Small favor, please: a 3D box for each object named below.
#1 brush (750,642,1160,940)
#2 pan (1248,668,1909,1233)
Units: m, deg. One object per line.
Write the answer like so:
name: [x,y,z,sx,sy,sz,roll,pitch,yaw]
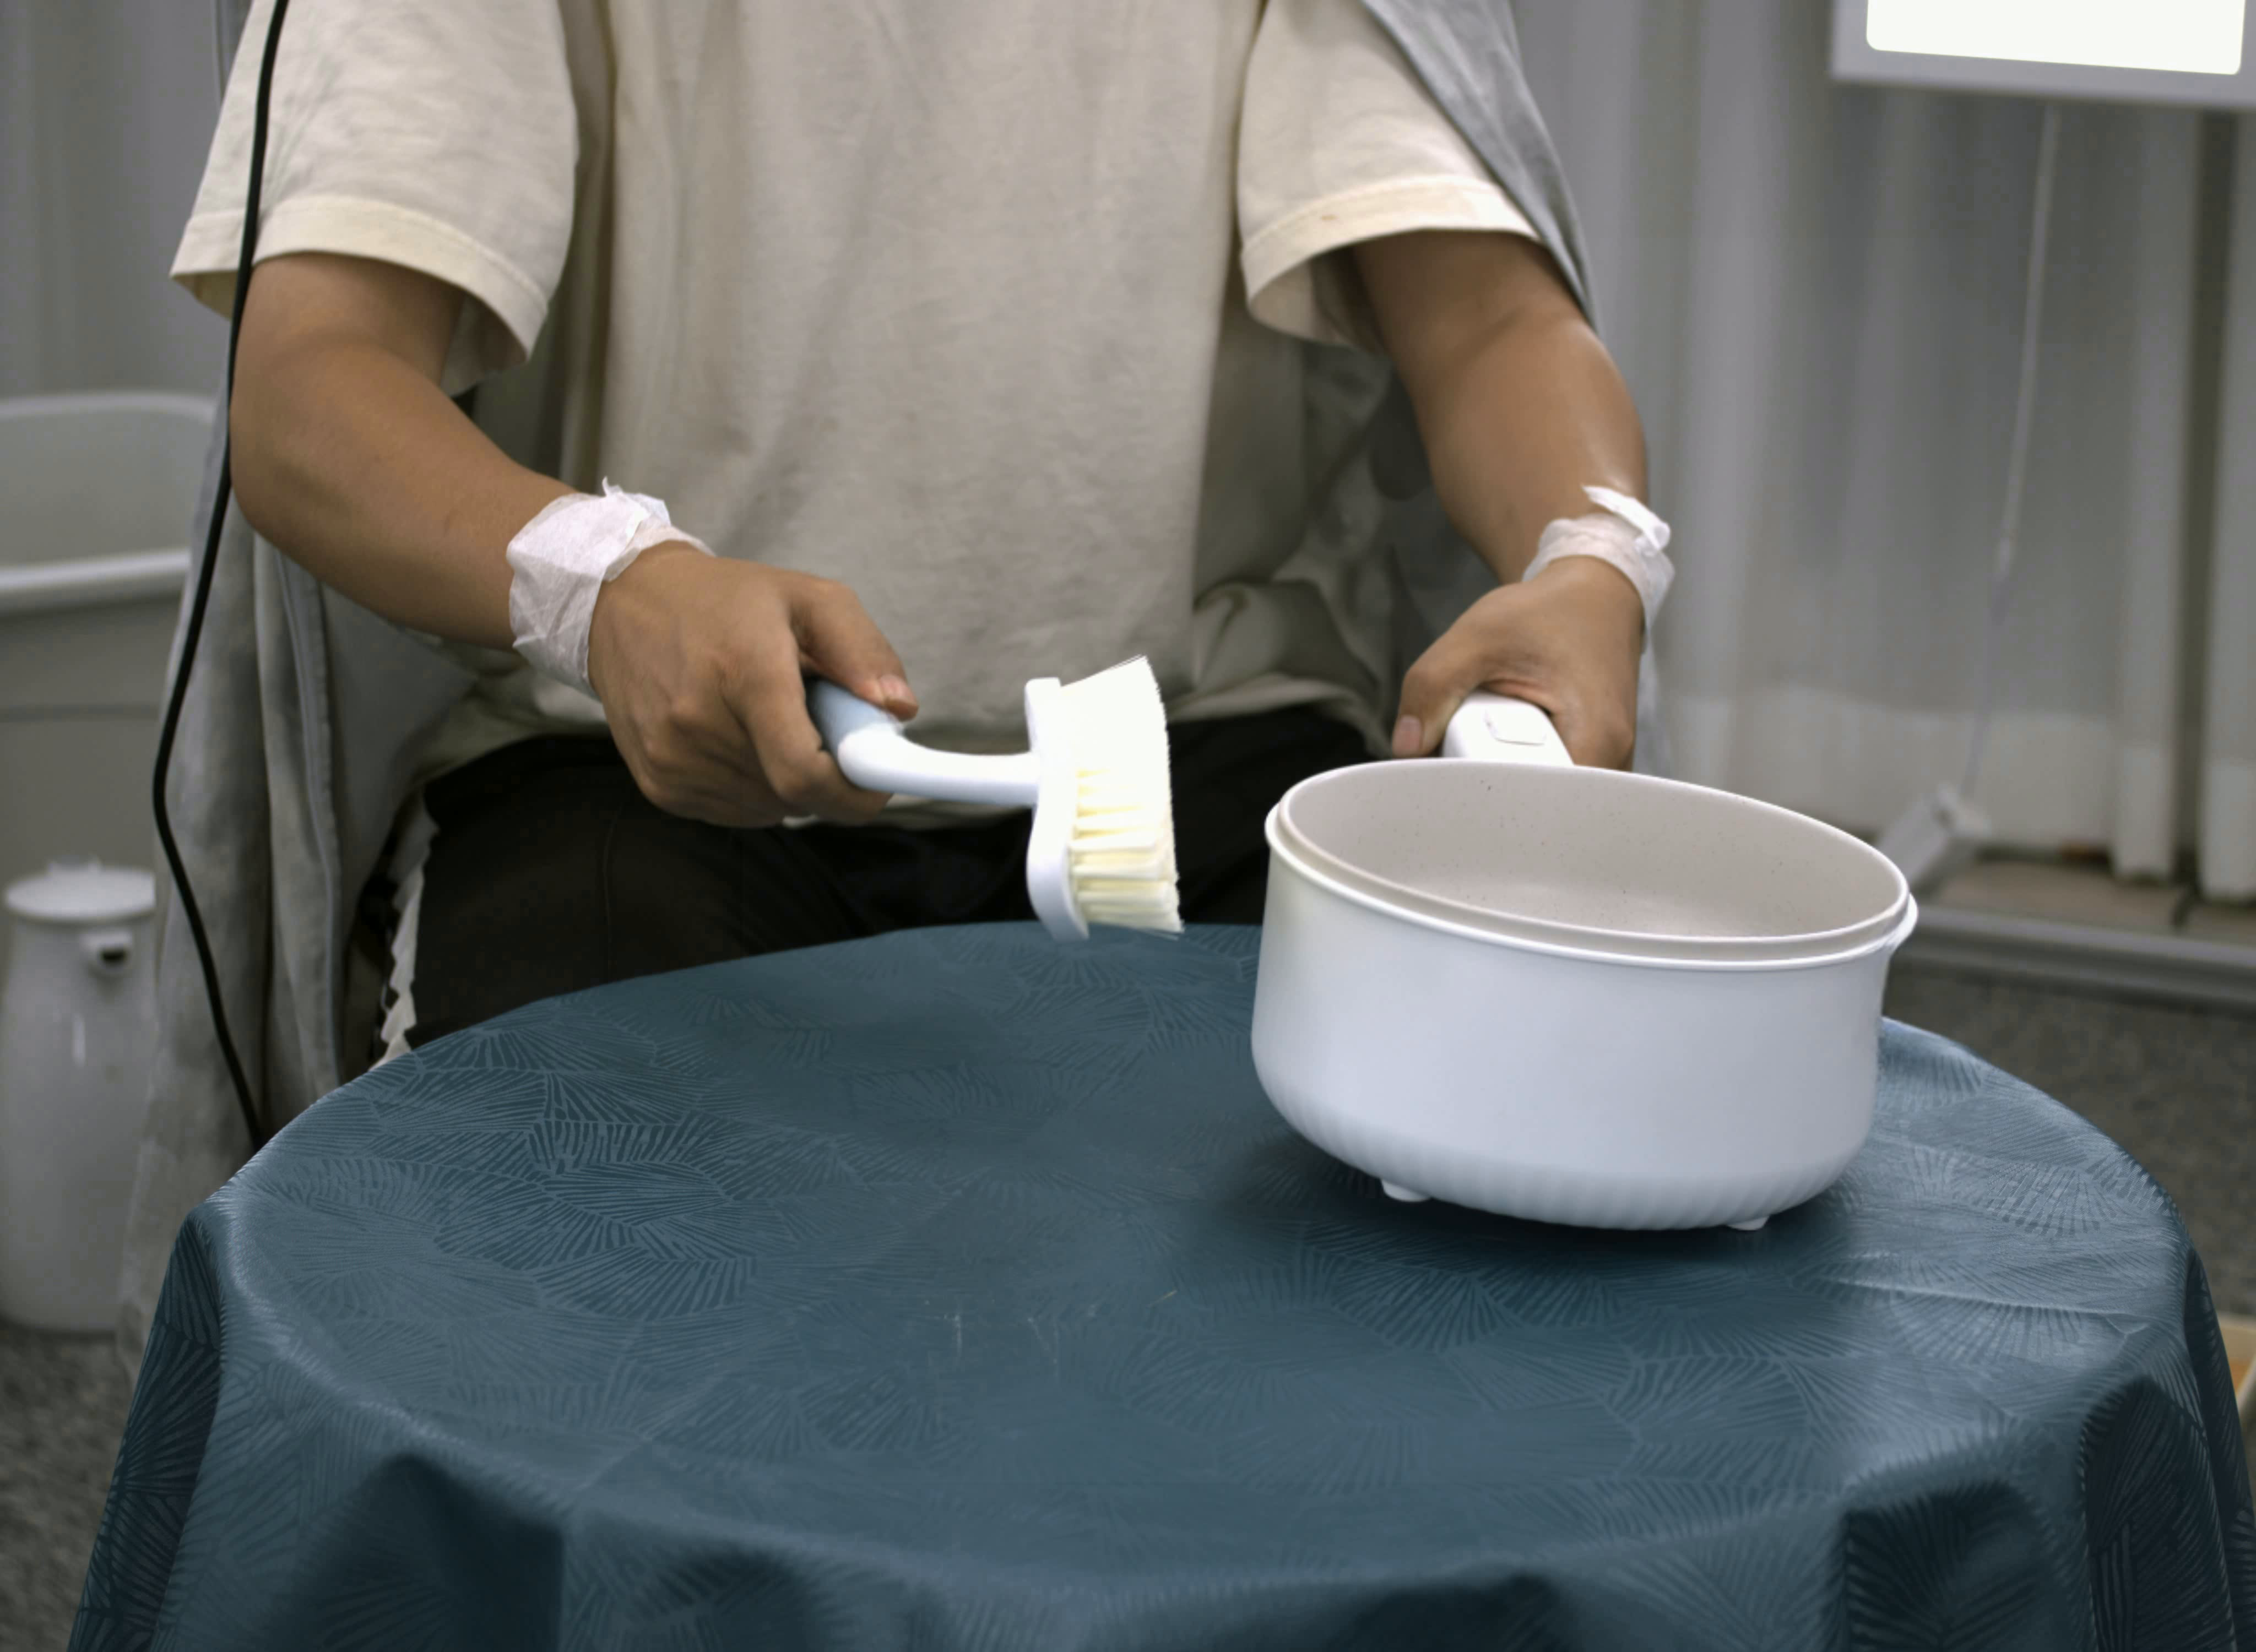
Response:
brush: [-0.038,-0.027,1.654,0.085,0.083,0.322,31,2,-20]
pan: [0.129,0.035,1.702,0.201,0.103,0.352,4,15,-6]
